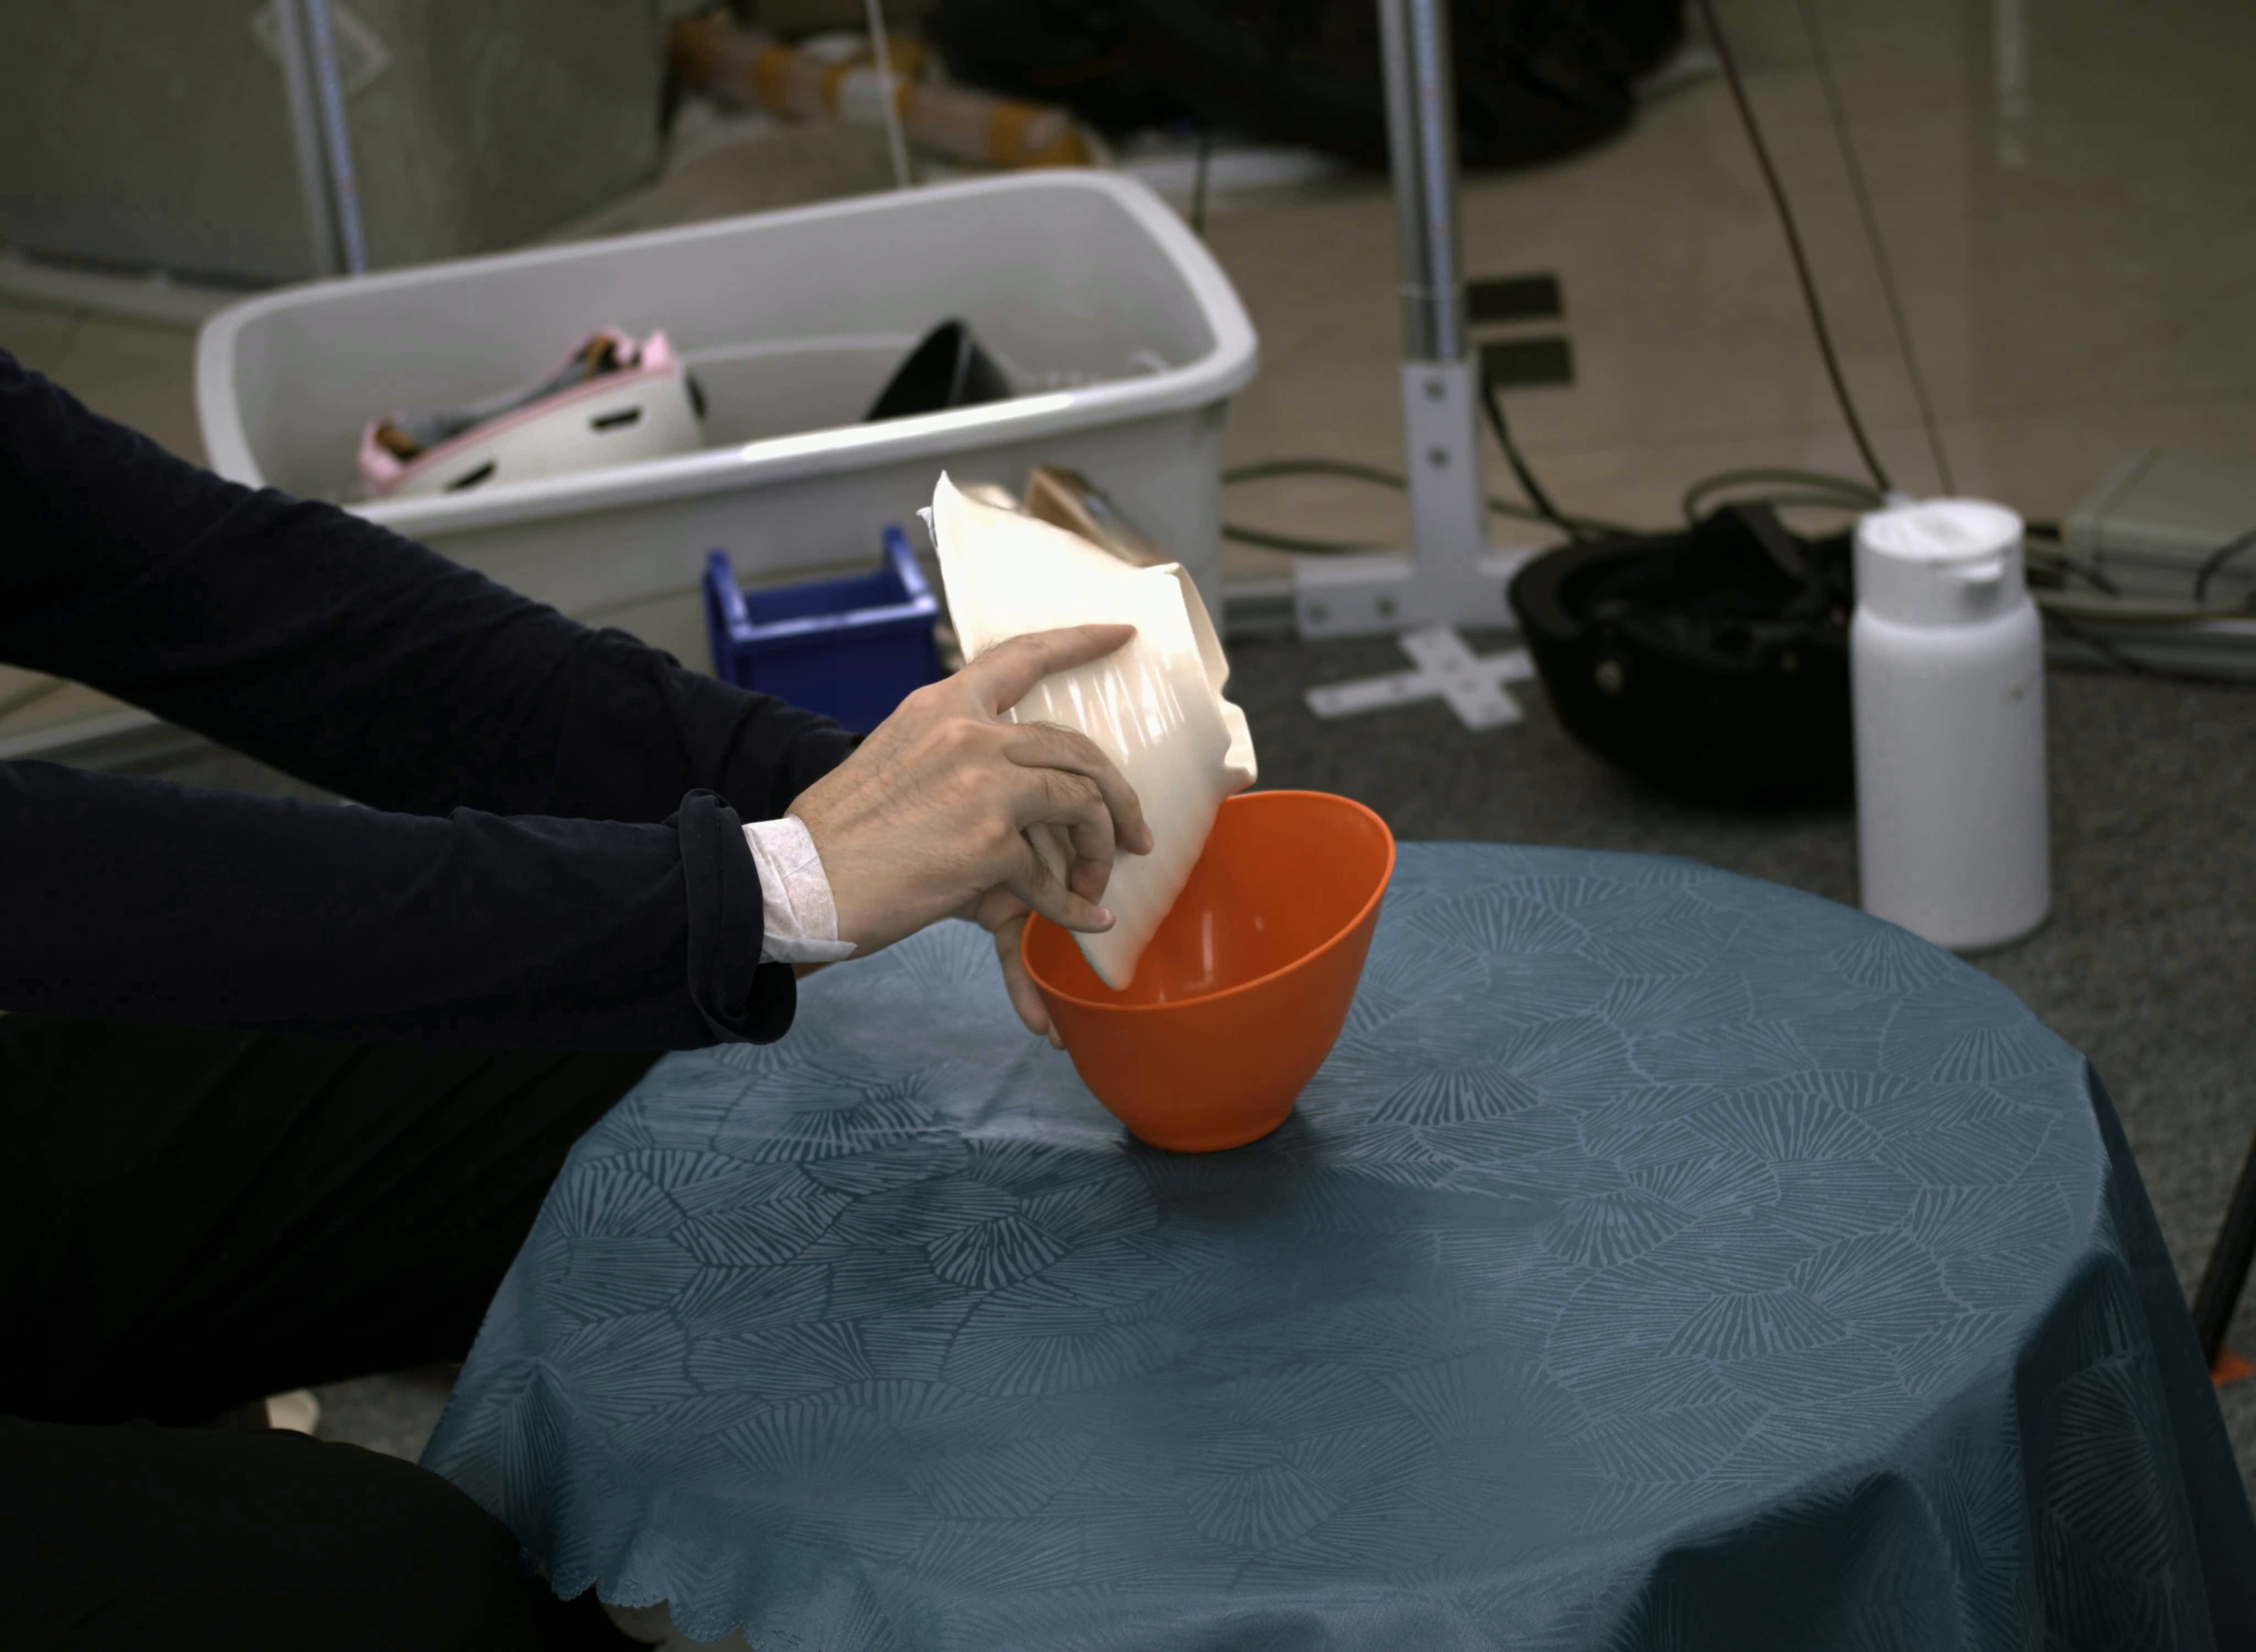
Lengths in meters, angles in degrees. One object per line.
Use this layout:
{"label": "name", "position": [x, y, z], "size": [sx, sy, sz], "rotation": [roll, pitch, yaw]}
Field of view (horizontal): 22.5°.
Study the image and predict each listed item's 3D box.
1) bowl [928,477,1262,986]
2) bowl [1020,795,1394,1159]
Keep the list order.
{"label": "bowl", "position": [-0.001, -0.048, 2.119], "size": [0.078, 0.207, 0.201], "rotation": [-20, 24, 8]}
{"label": "bowl", "position": [0.036, 0.065, 2.178], "size": [0.148, 0.106, 0.145], "rotation": [-8, 28, 5]}
